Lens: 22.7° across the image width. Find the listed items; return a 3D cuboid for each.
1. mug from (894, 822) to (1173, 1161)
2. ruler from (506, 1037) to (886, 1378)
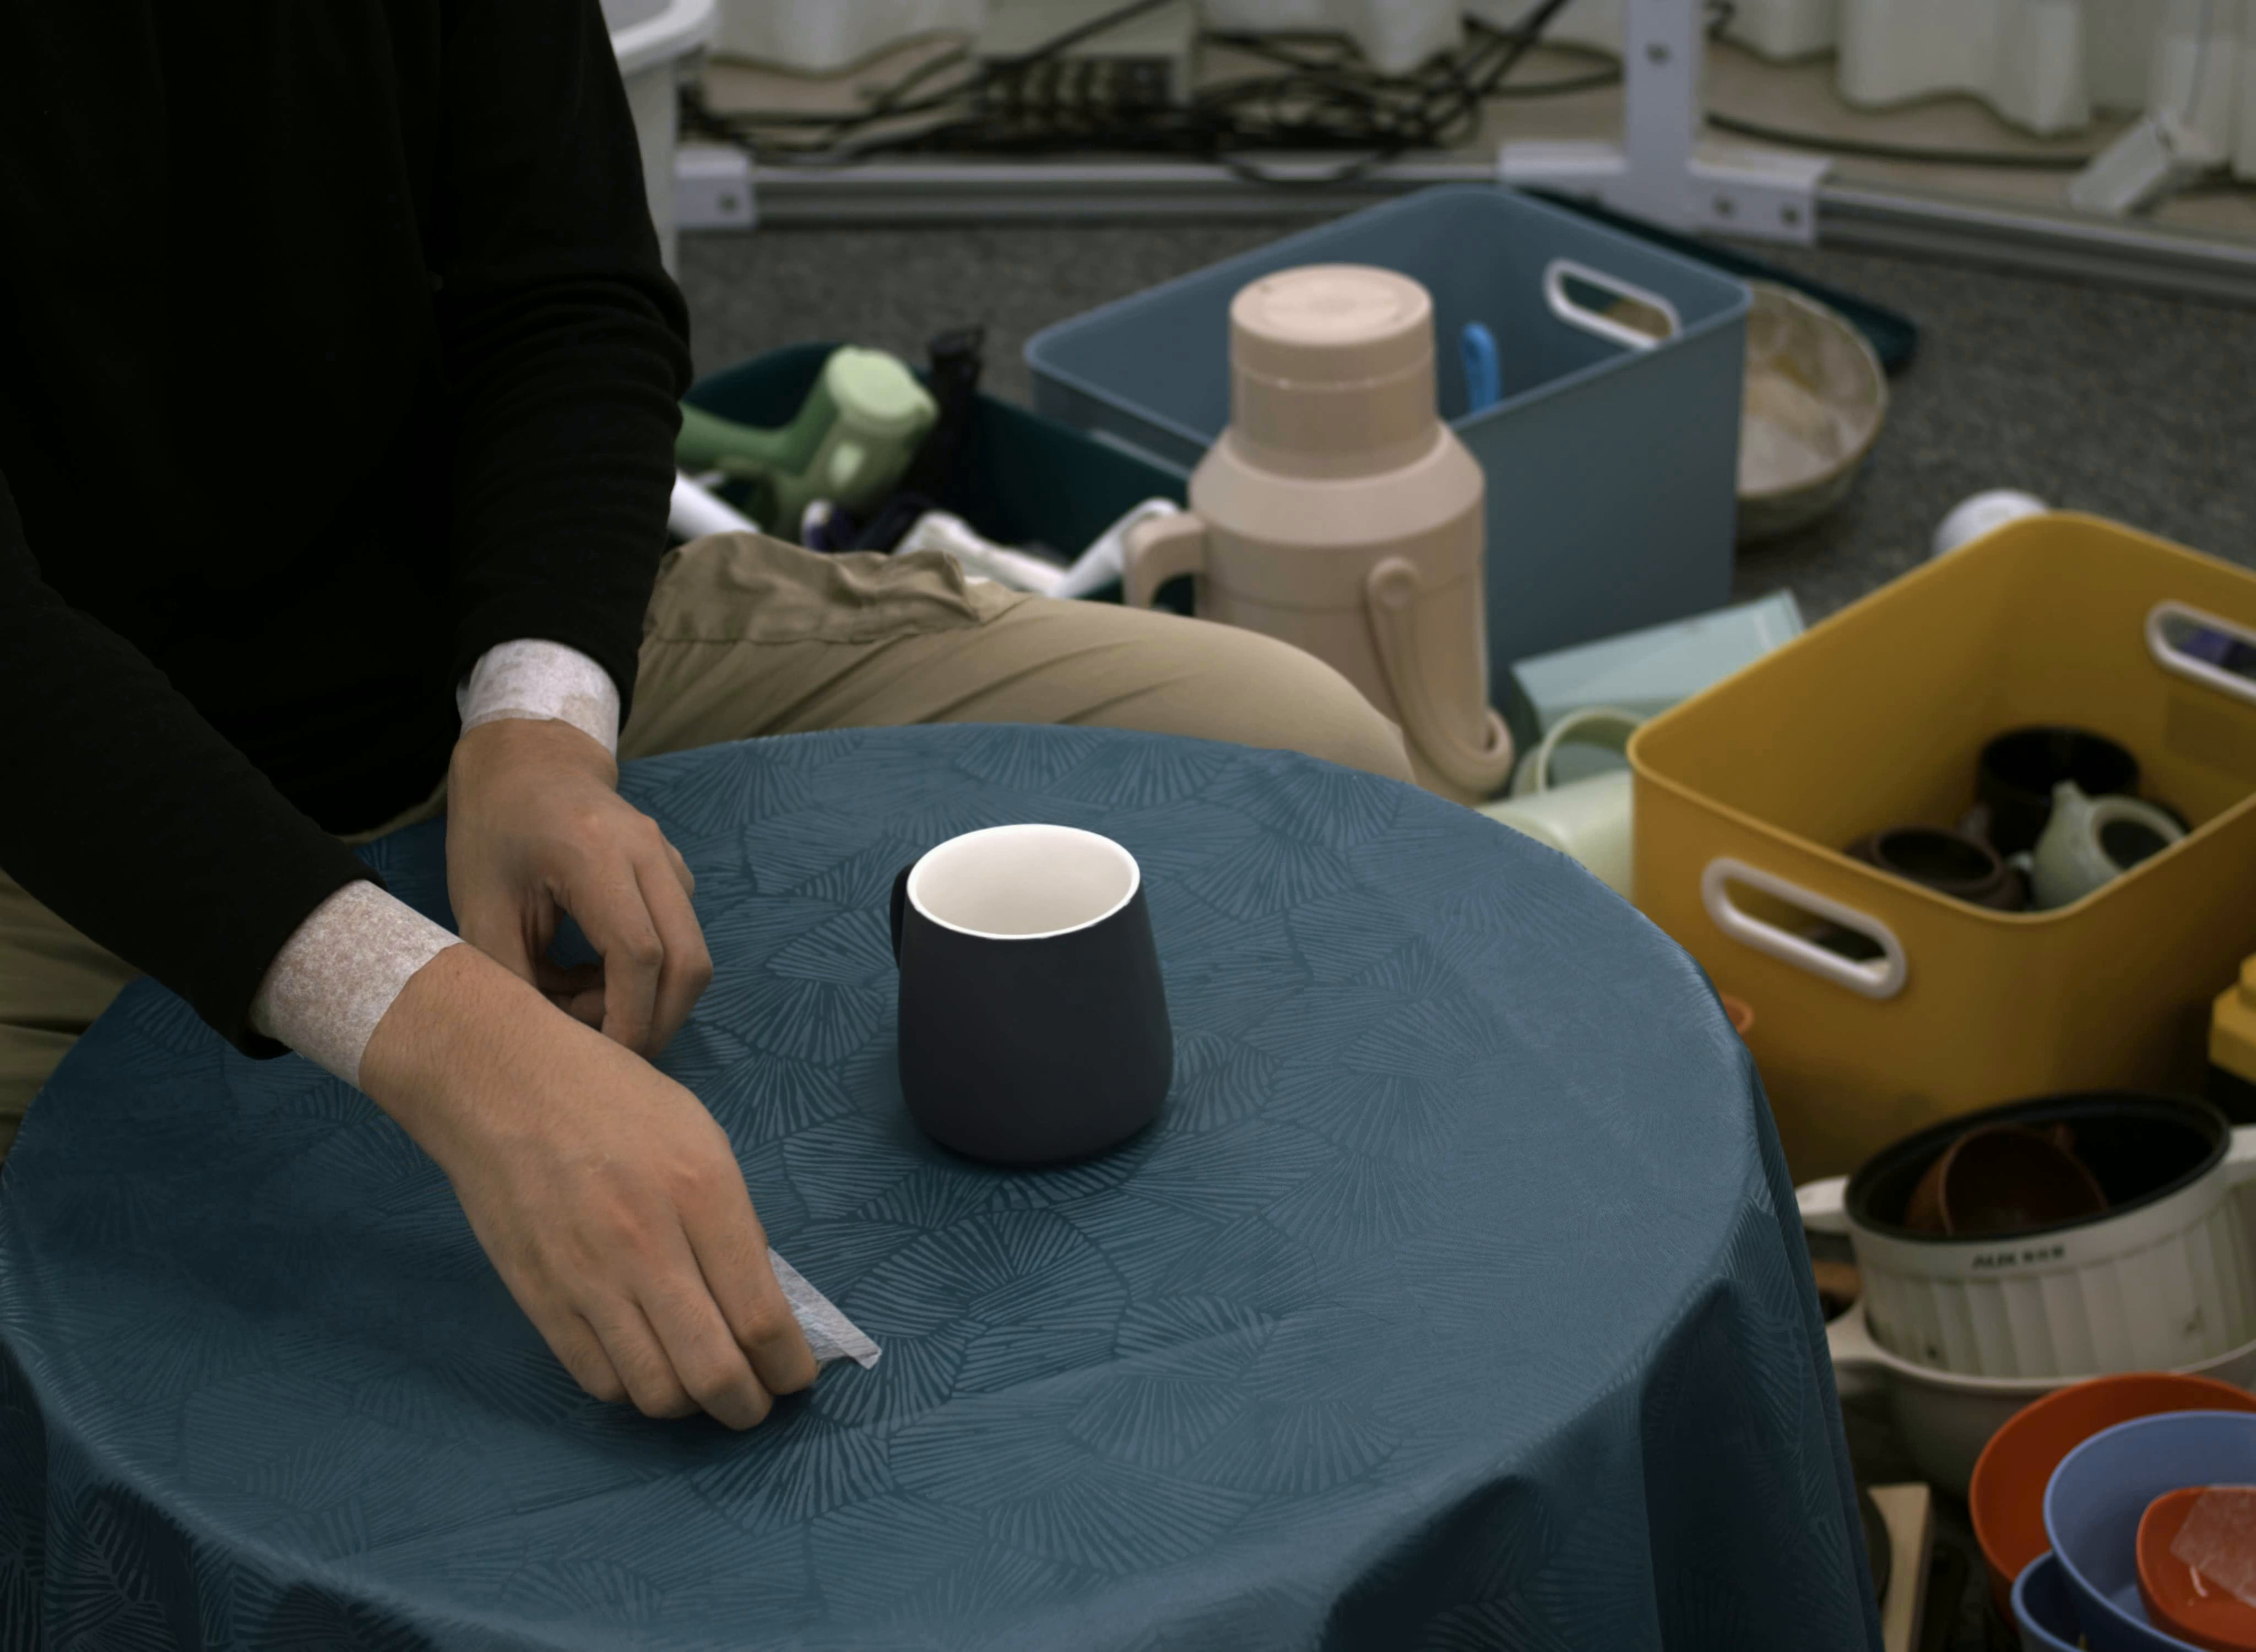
[{"bbox_3d":[-0.041,0.051,1.902,0.094,0.089,0.123,-19,32,-30],"label":"mug"},{"bbox_3d":[-0.148,0.122,1.847,0.038,0.024,0.219,-18,30,-26],"label":"ruler"}]
